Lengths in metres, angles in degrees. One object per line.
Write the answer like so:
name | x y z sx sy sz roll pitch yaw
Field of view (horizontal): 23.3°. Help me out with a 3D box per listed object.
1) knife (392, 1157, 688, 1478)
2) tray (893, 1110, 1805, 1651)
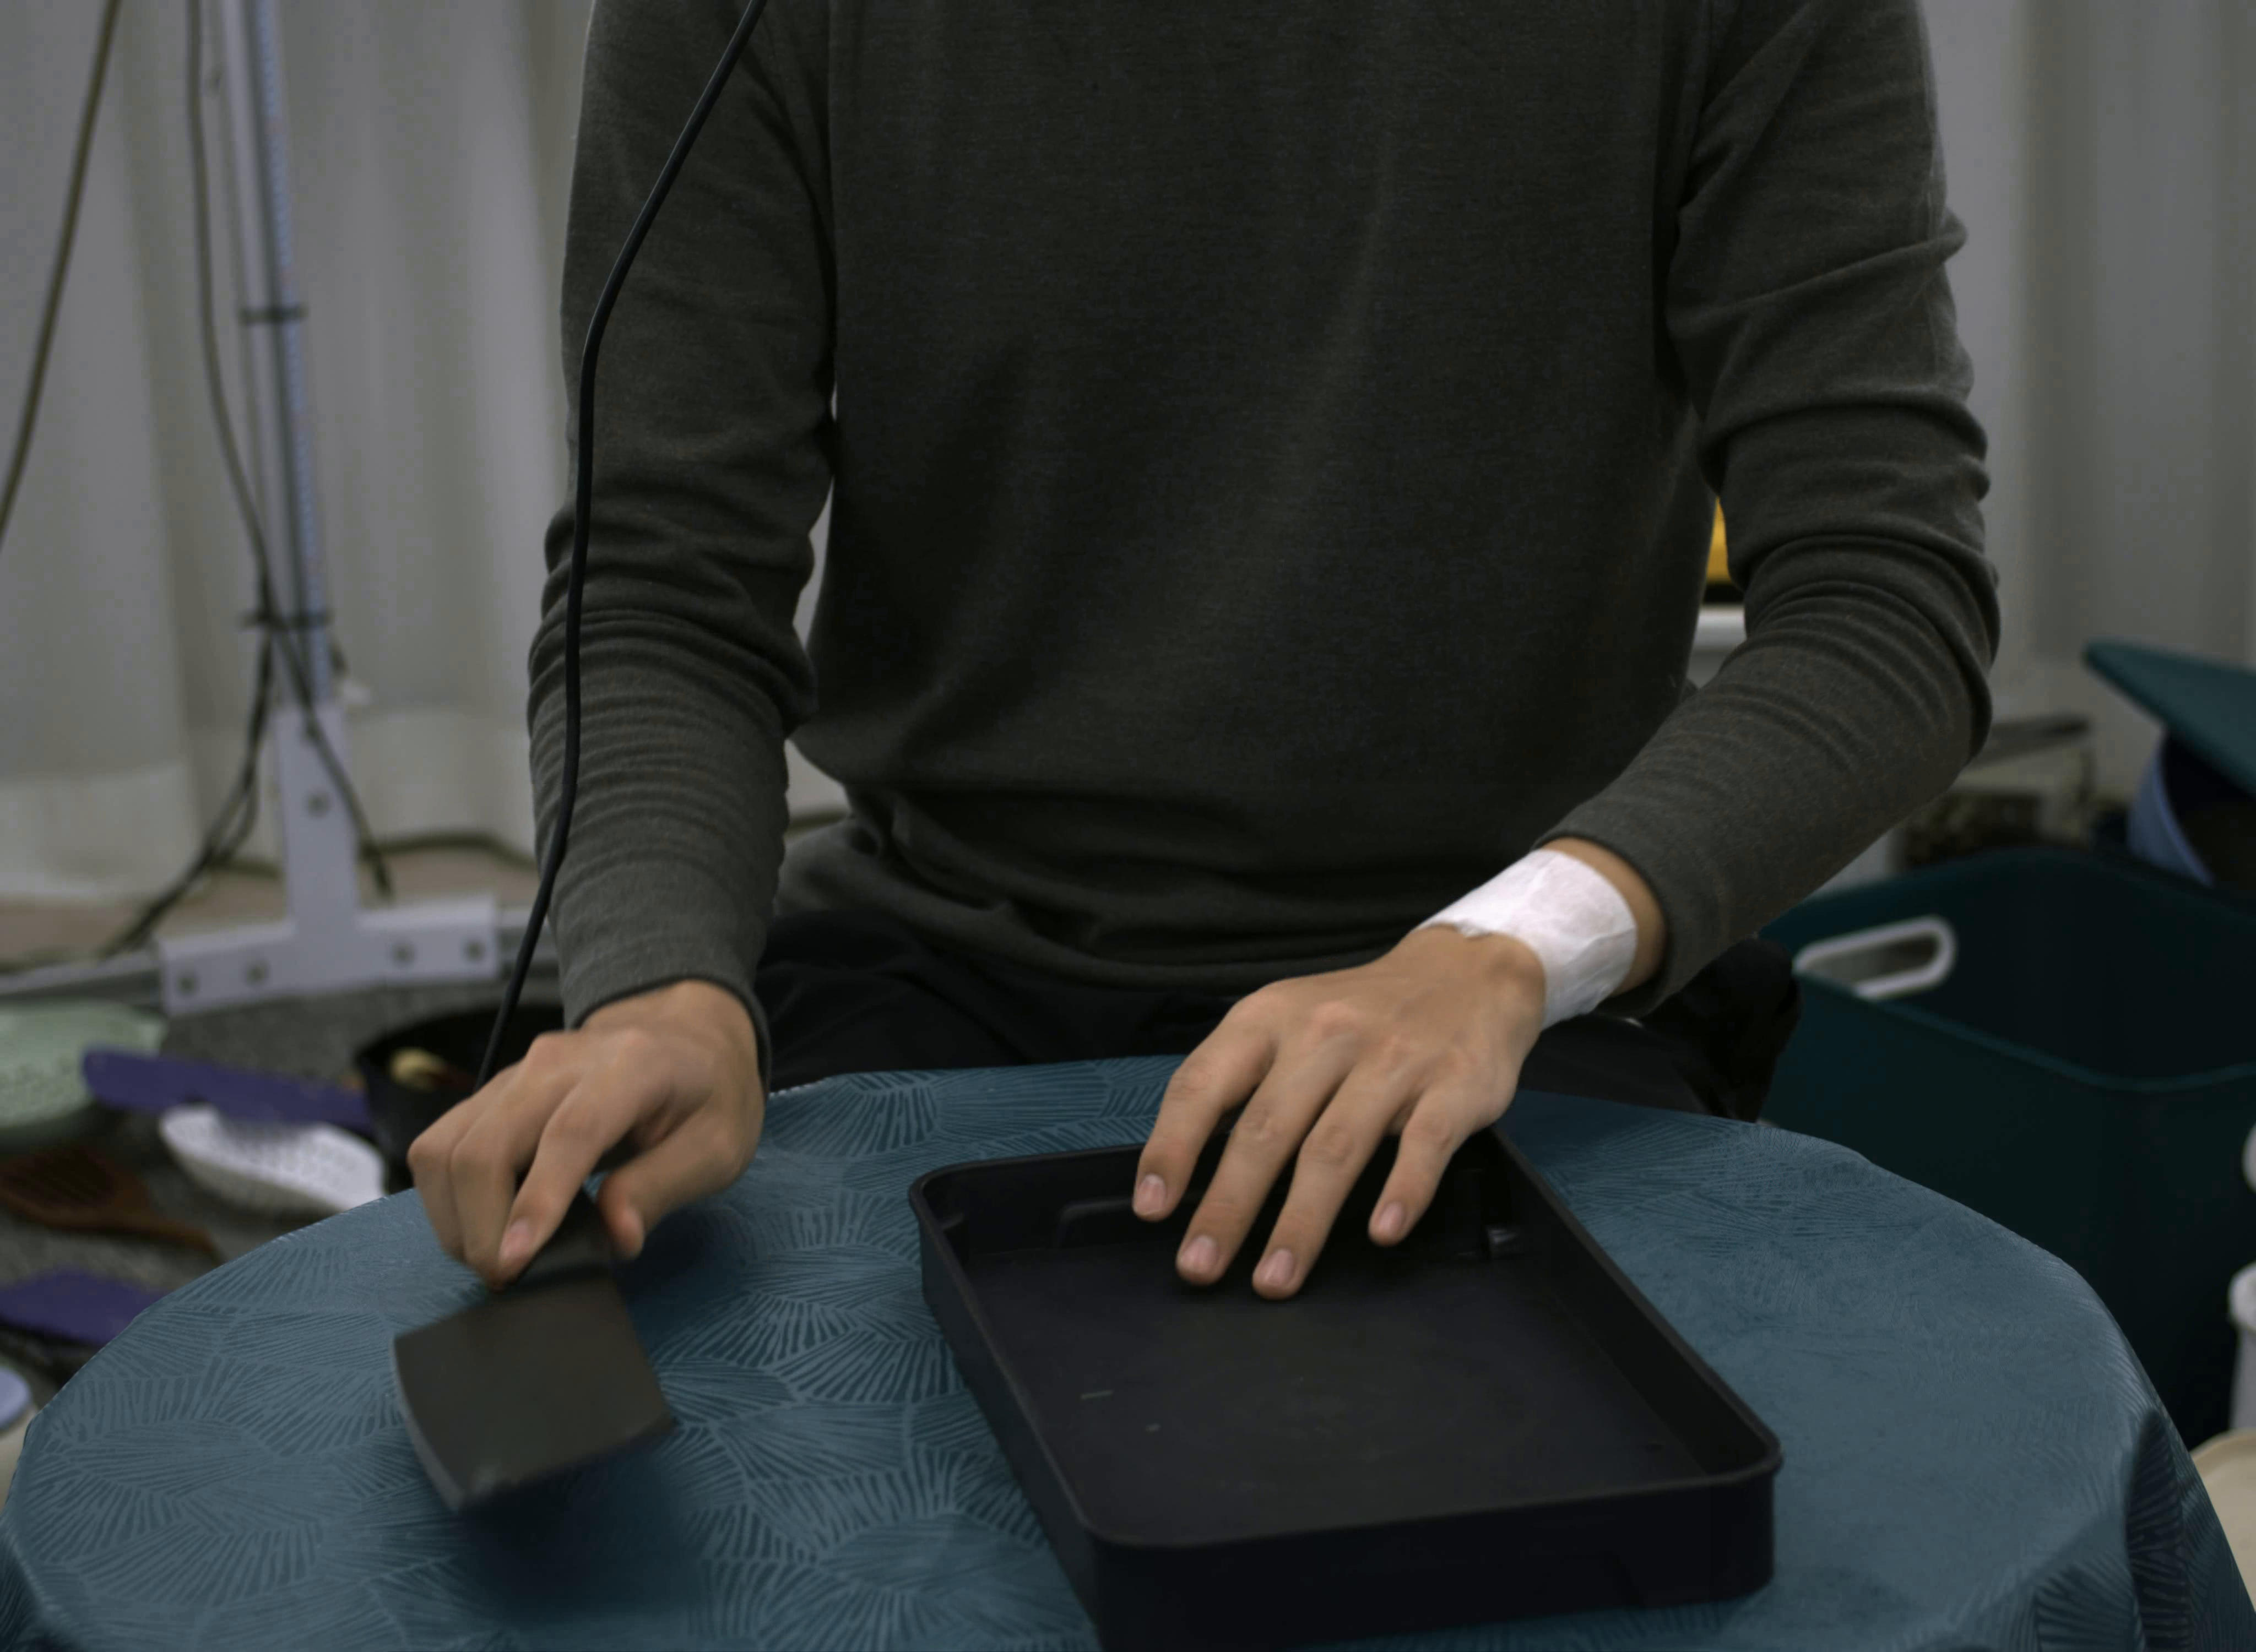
knife | -0.169 0.136 1.541 0.080 0.021 0.304 -17 11 -5
tray | 0.052 0.149 1.506 0.183 0.037 0.320 -6 15 -12
